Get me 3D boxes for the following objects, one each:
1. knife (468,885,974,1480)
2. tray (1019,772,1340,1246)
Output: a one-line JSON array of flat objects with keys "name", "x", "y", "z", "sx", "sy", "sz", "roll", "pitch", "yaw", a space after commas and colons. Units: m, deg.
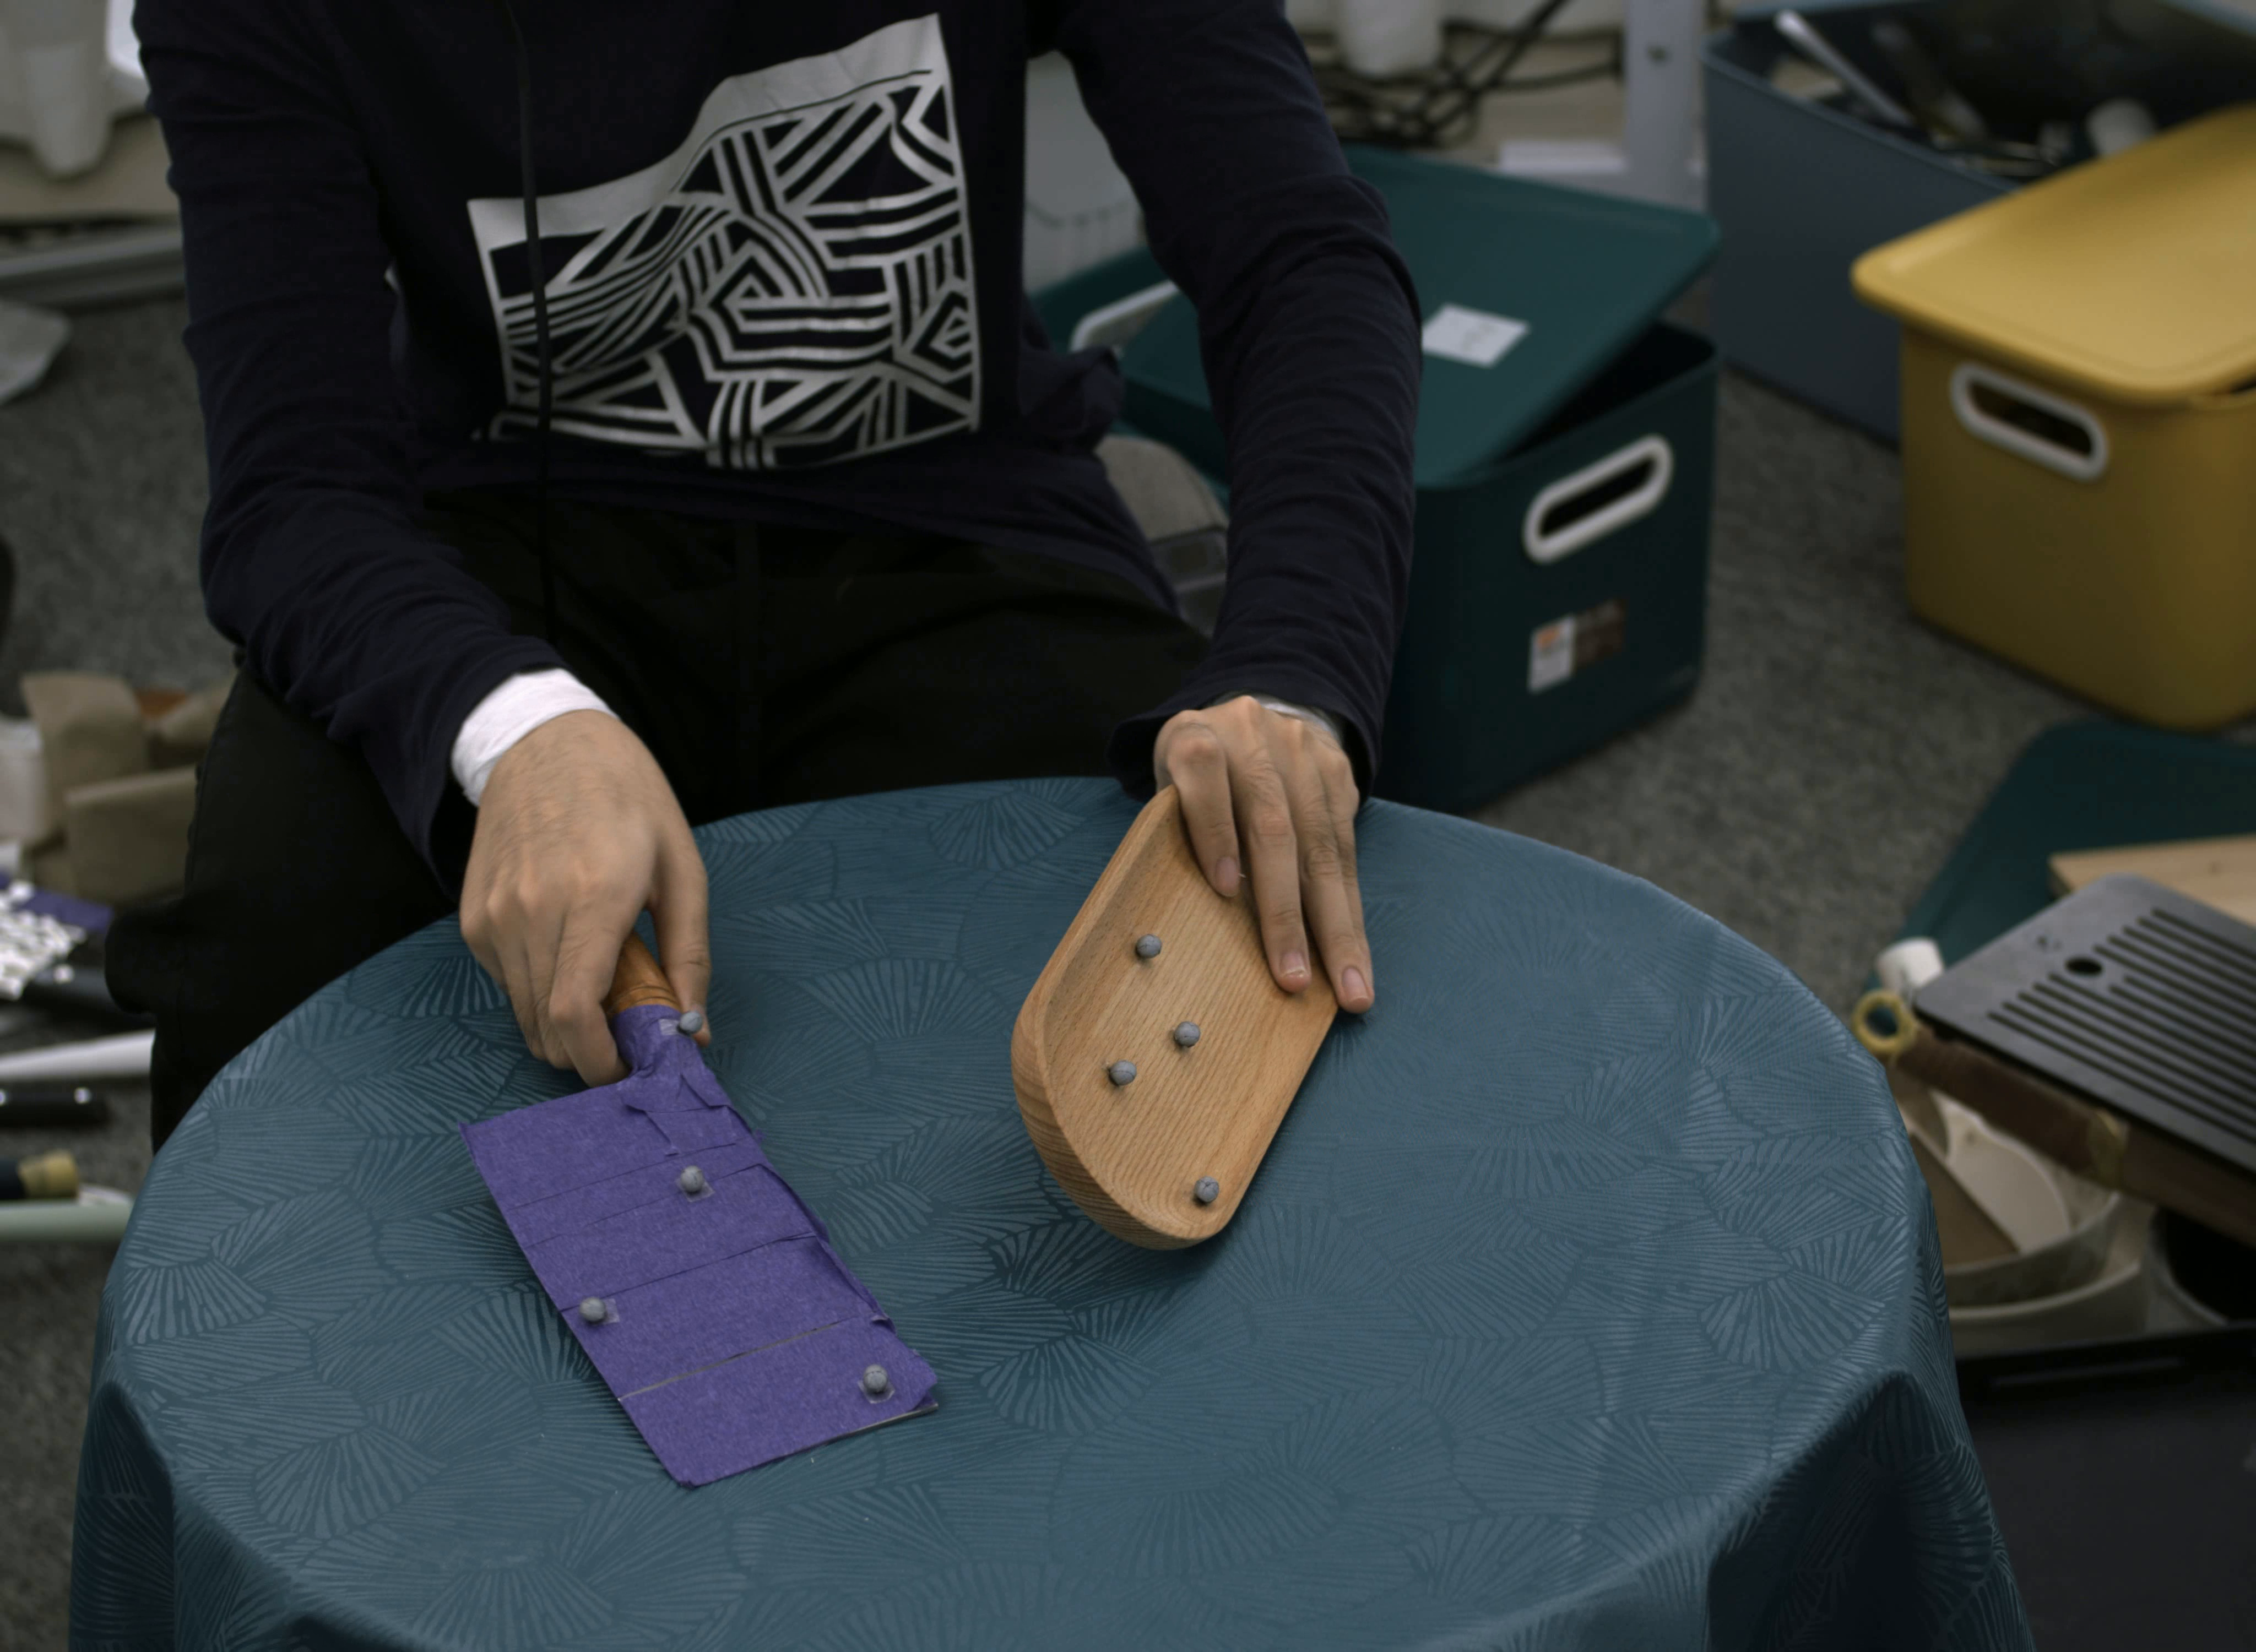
[{"name": "knife", "x": -0.160, "y": 0.112, "z": 1.846, "sx": 0.104, "sy": 0.032, "sz": 0.317, "roll": -15, "pitch": 33, "yaw": -21}, {"name": "tray", "x": 0.018, "y": 0.060, "z": 1.888, "sx": 0.020, "sy": 0.101, "sz": 0.235, "roll": -32, "pitch": 15, "yaw": 27}]
